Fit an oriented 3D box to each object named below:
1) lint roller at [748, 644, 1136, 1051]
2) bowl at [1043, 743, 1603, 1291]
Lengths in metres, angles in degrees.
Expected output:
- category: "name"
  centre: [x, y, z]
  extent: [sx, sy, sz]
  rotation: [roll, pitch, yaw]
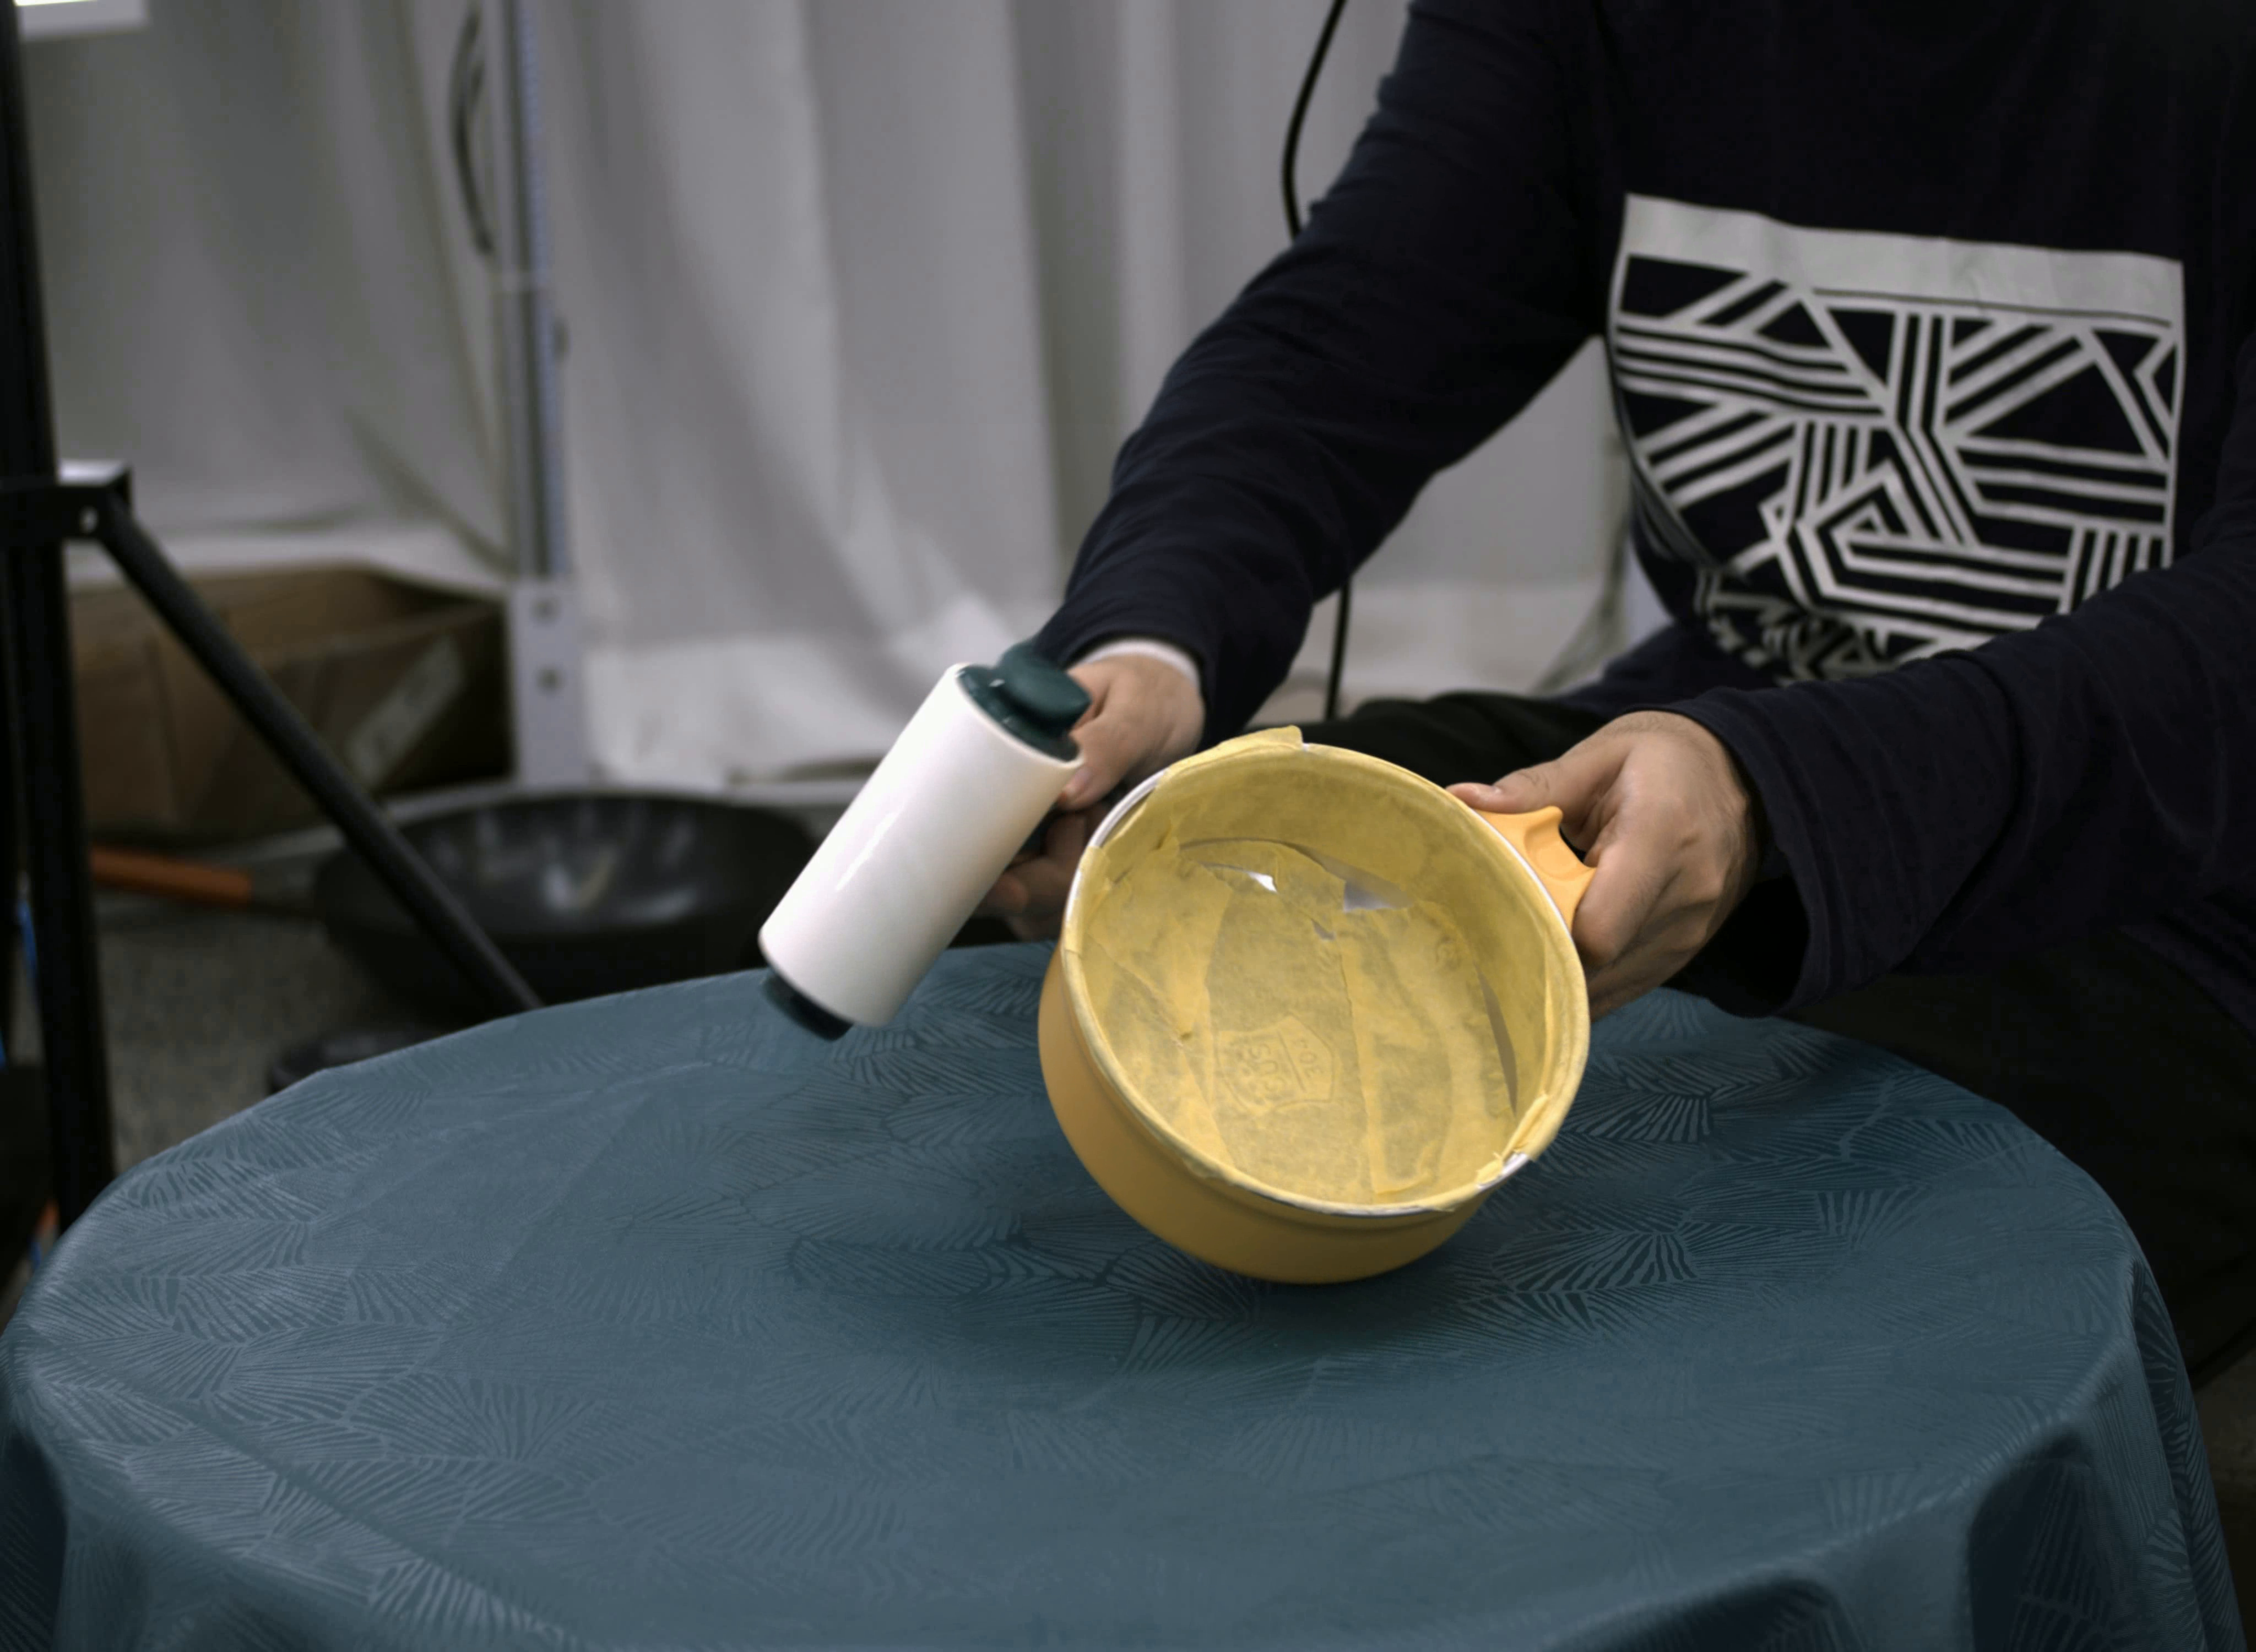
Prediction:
- category: "lint roller"
  centre: [-0.043, 0.000, 1.603]
  extent: [0.048, 0.135, 0.178]
  rotation: [39, 16, 9]
- category: "bowl"
  centre: [0.060, 0.054, 1.501]
  extent: [0.176, 0.074, 0.155]
  rotation: [-34, 71, -32]
